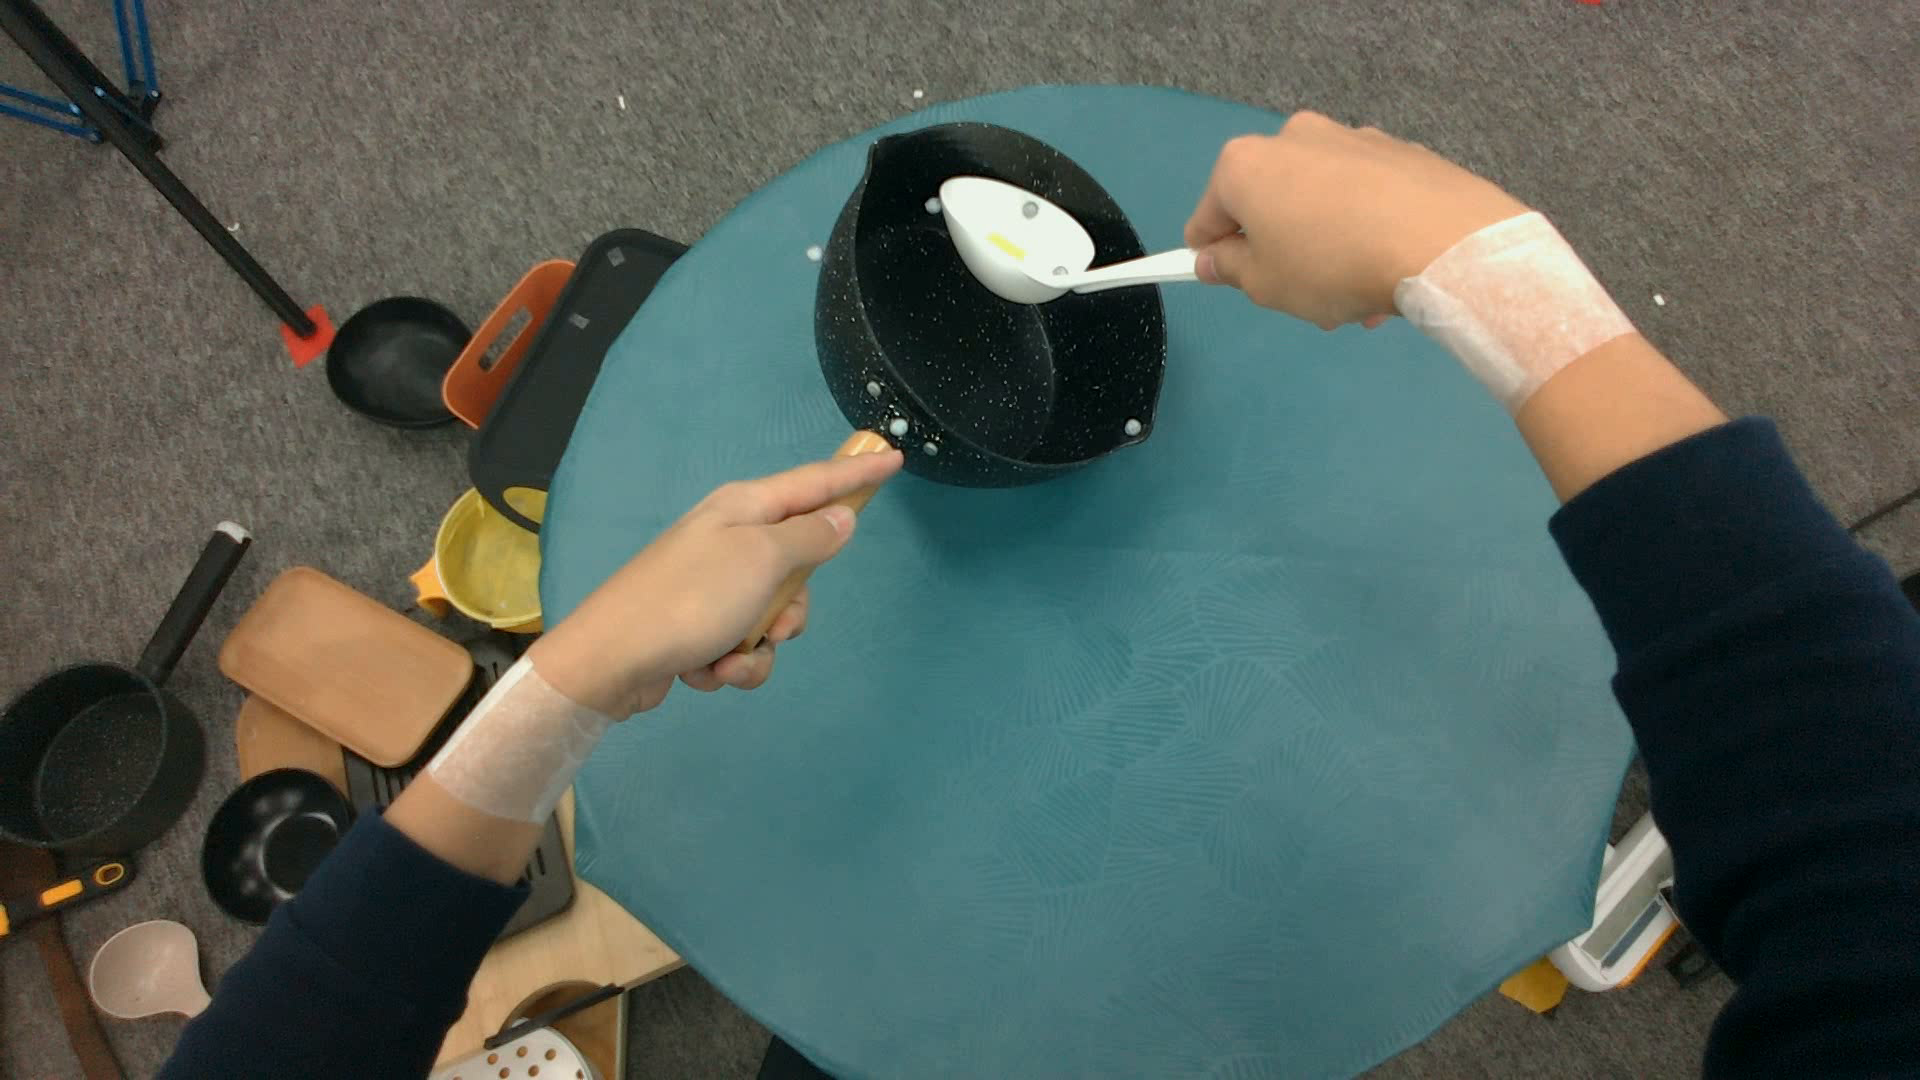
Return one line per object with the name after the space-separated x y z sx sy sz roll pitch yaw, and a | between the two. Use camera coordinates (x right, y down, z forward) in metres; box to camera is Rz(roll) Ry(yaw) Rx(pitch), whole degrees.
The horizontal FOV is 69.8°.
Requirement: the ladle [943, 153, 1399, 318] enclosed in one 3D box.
0.083 -0.142 0.625 0.090 0.293 0.070 16 93 -32 | ladle

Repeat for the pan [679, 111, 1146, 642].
-0.036 -0.067 0.667 0.207 0.108 0.344 44 56 -13 | pan
